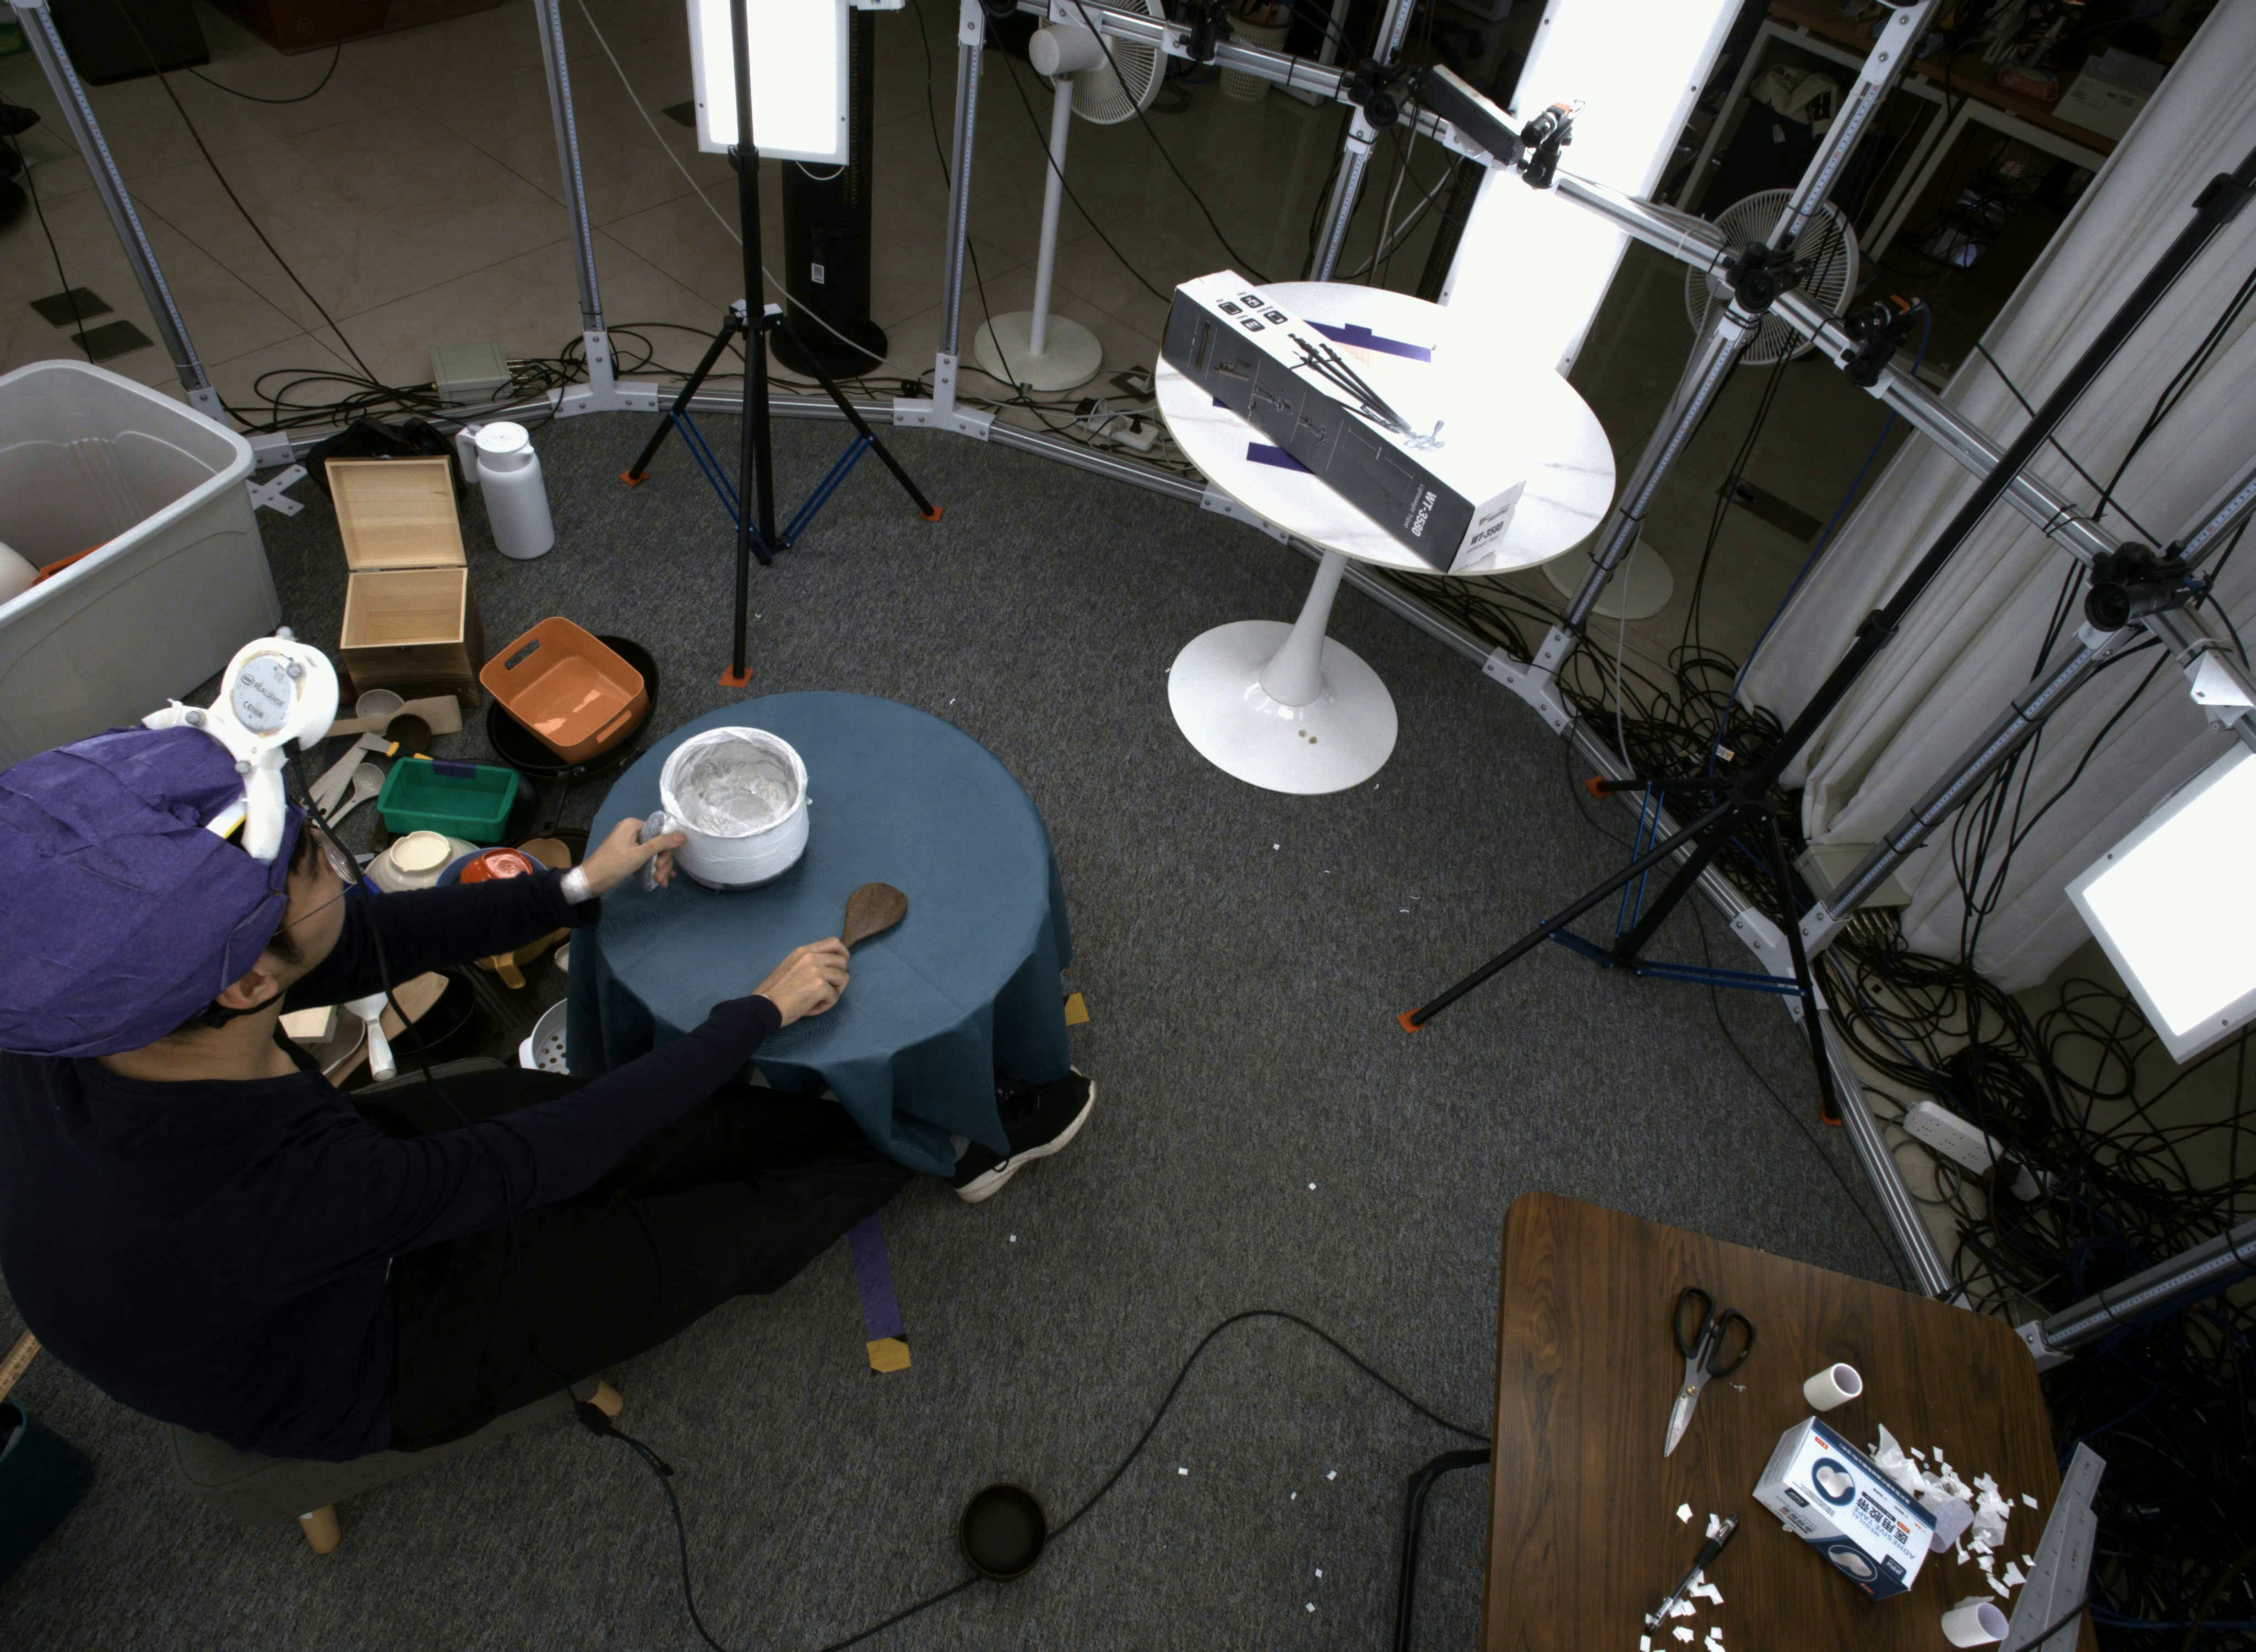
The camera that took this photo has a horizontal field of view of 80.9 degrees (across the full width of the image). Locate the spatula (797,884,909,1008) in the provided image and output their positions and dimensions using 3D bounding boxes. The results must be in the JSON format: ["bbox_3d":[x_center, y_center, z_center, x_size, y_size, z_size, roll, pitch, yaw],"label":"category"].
[{"bbox_3d":[-0.352,0.146,1.635,0.070,0.009,0.214,24,50,11],"label":"spatula"}]

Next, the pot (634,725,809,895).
[{"bbox_3d":[-0.516,-0.008,1.627,0.234,0.140,0.174,-33,63,-33],"label":"pot"}]
